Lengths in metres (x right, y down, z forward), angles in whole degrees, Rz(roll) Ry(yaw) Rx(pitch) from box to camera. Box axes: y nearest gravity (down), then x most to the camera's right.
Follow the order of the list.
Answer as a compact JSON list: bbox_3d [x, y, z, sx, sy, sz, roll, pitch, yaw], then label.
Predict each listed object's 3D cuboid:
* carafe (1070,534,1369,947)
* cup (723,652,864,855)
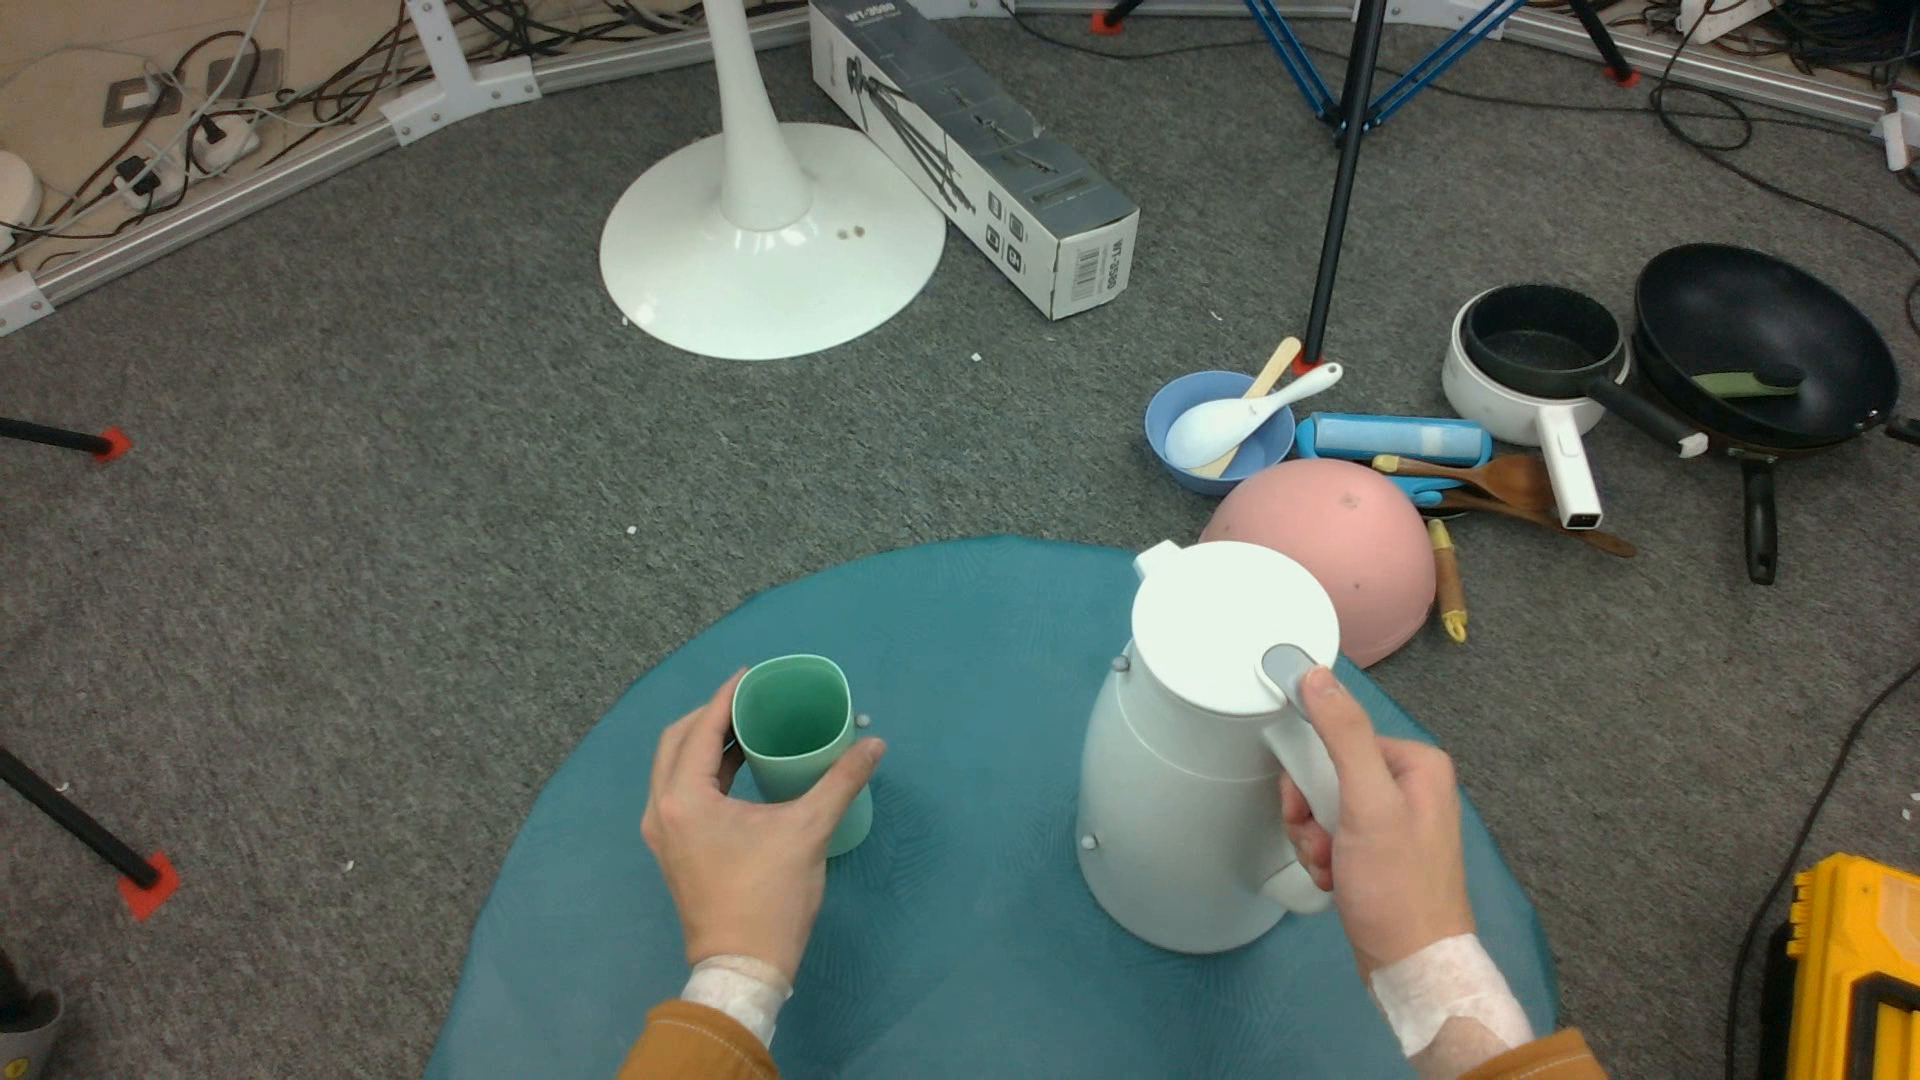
[{"bbox_3d":[0.136,0.114,0.698,0.133,0.247,0.168,-28,58,-17],"label":"carafe"},{"bbox_3d":[-0.091,0.124,0.776,0.067,0.132,0.067,-1,54,2],"label":"cup"}]
